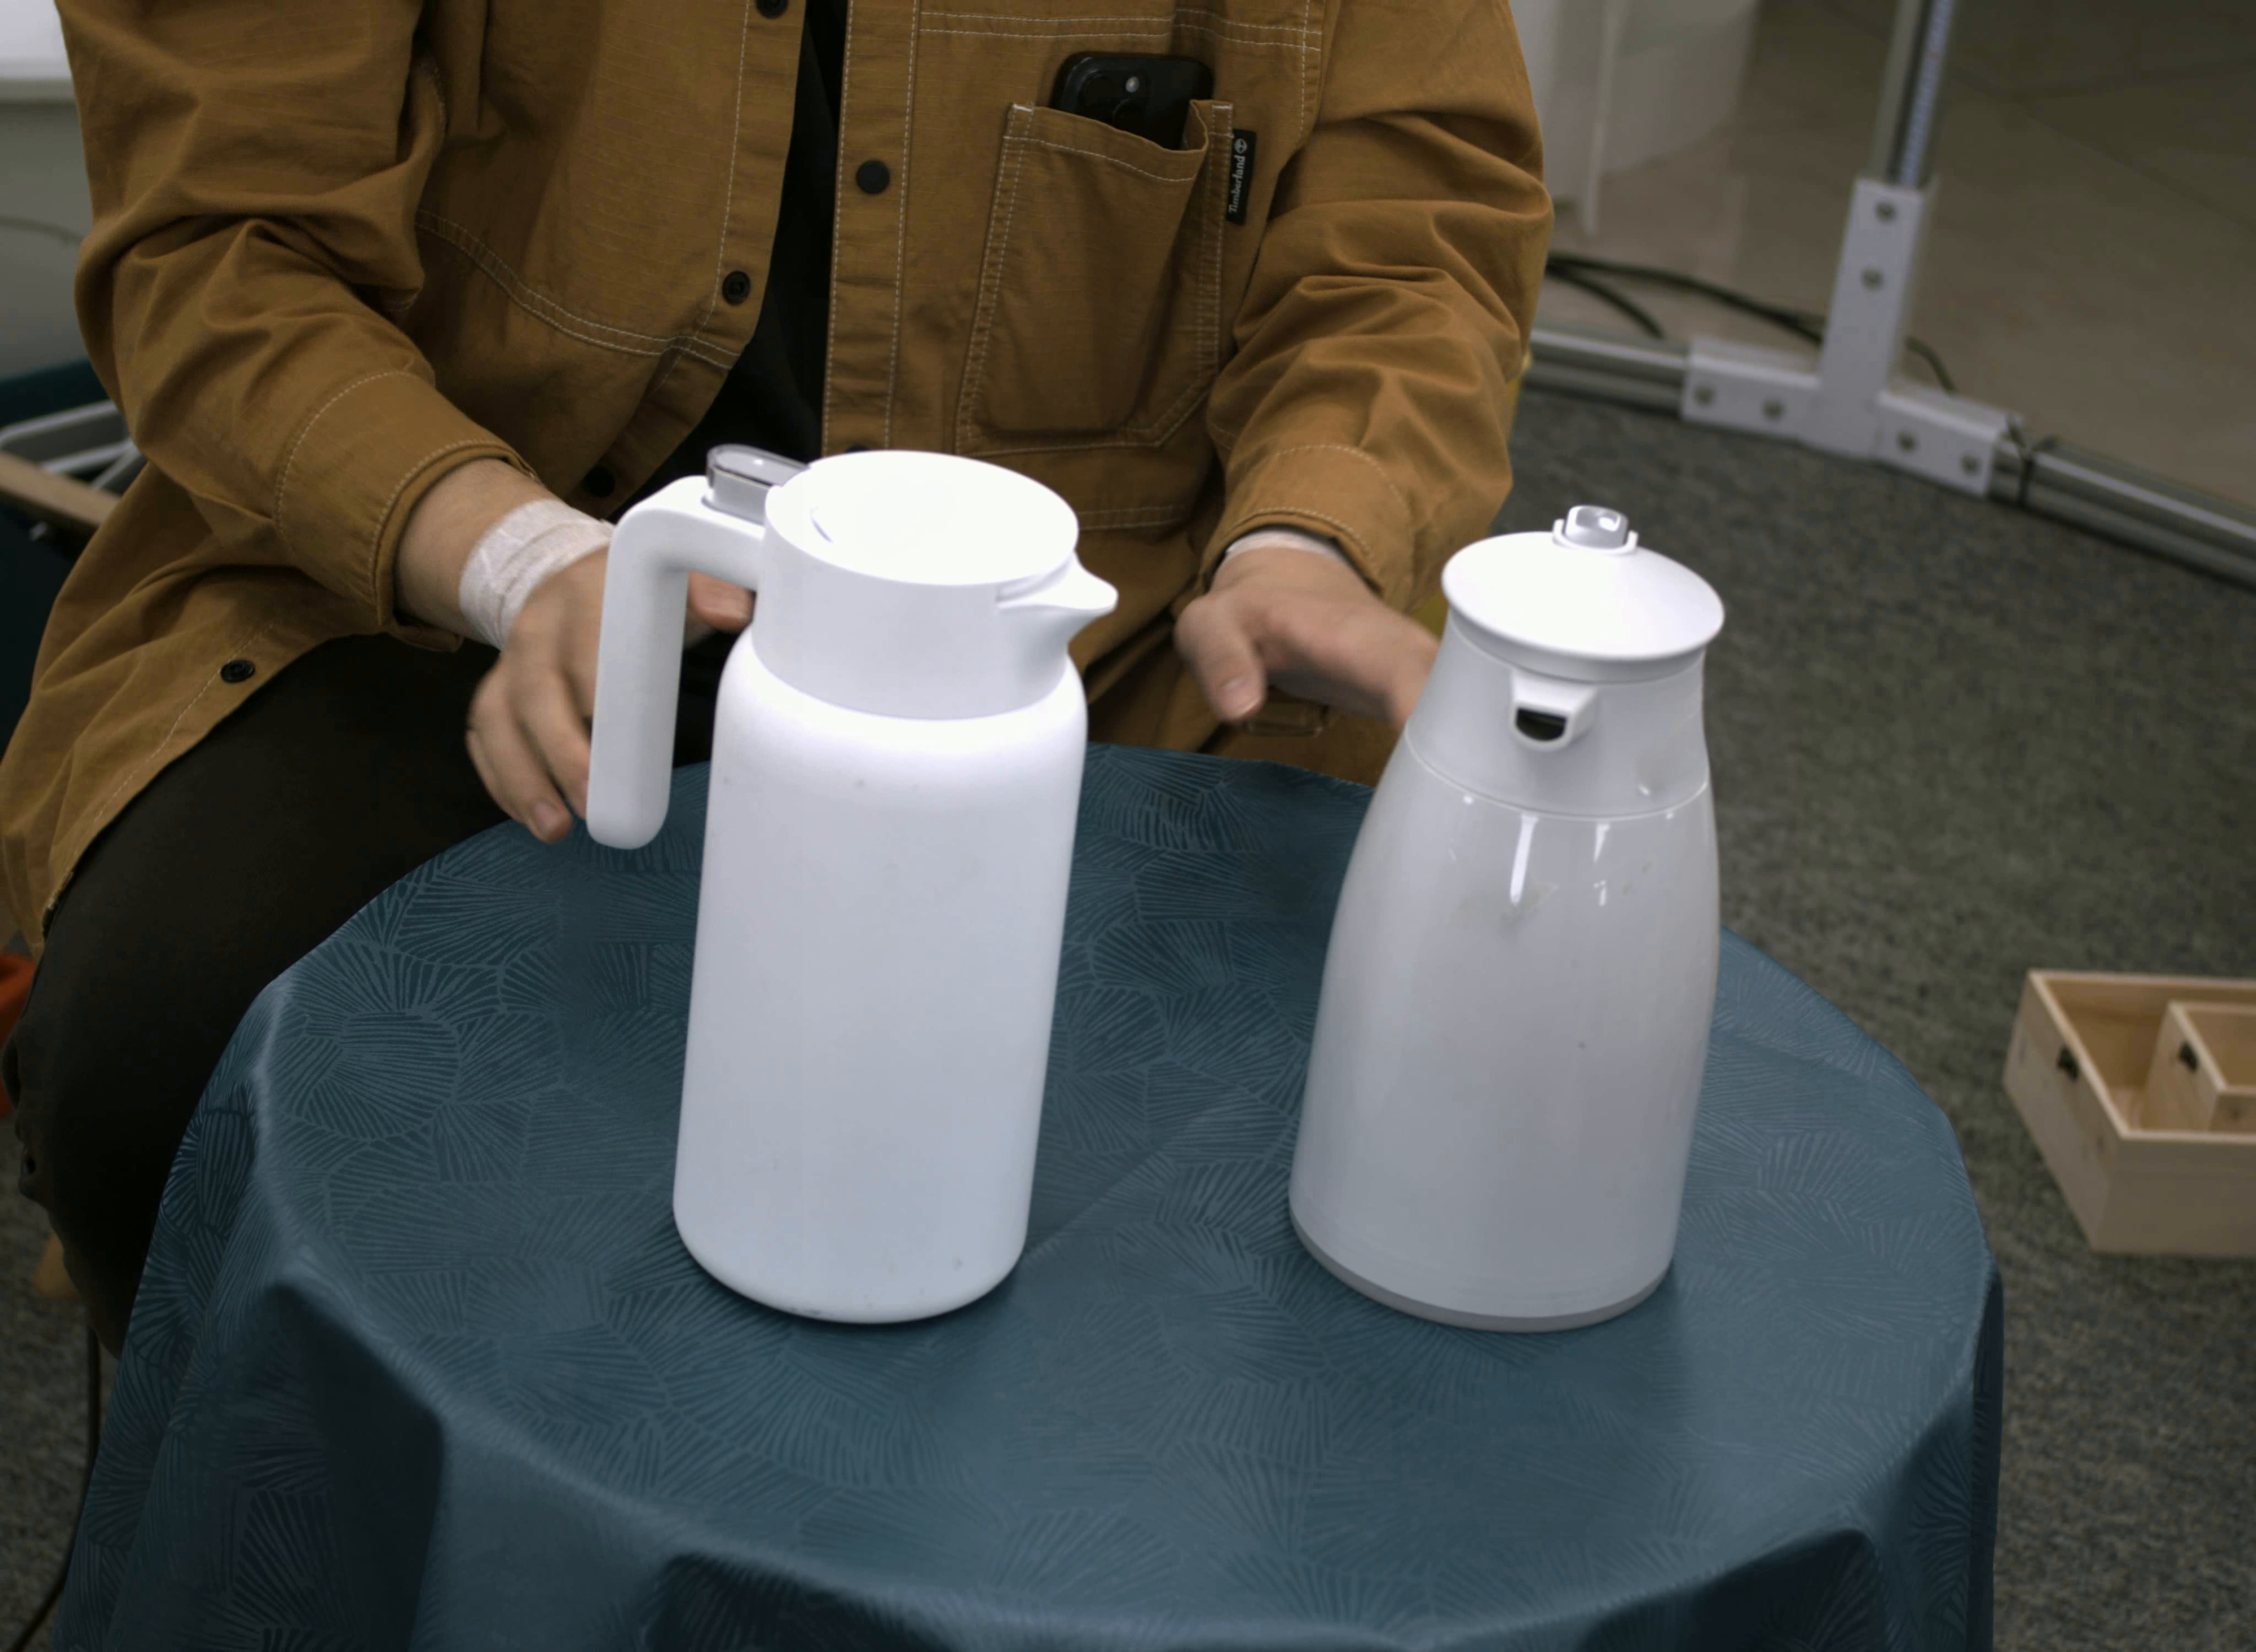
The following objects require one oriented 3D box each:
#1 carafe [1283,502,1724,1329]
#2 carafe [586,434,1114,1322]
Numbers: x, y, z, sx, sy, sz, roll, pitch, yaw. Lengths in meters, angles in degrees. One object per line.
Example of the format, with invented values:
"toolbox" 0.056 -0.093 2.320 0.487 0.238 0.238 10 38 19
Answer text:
"carafe" 0.135 0.019 1.769 0.132 0.248 0.168 11 26 9
"carafe" -0.095 0.014 1.705 0.173 0.268 0.124 17 30 21
